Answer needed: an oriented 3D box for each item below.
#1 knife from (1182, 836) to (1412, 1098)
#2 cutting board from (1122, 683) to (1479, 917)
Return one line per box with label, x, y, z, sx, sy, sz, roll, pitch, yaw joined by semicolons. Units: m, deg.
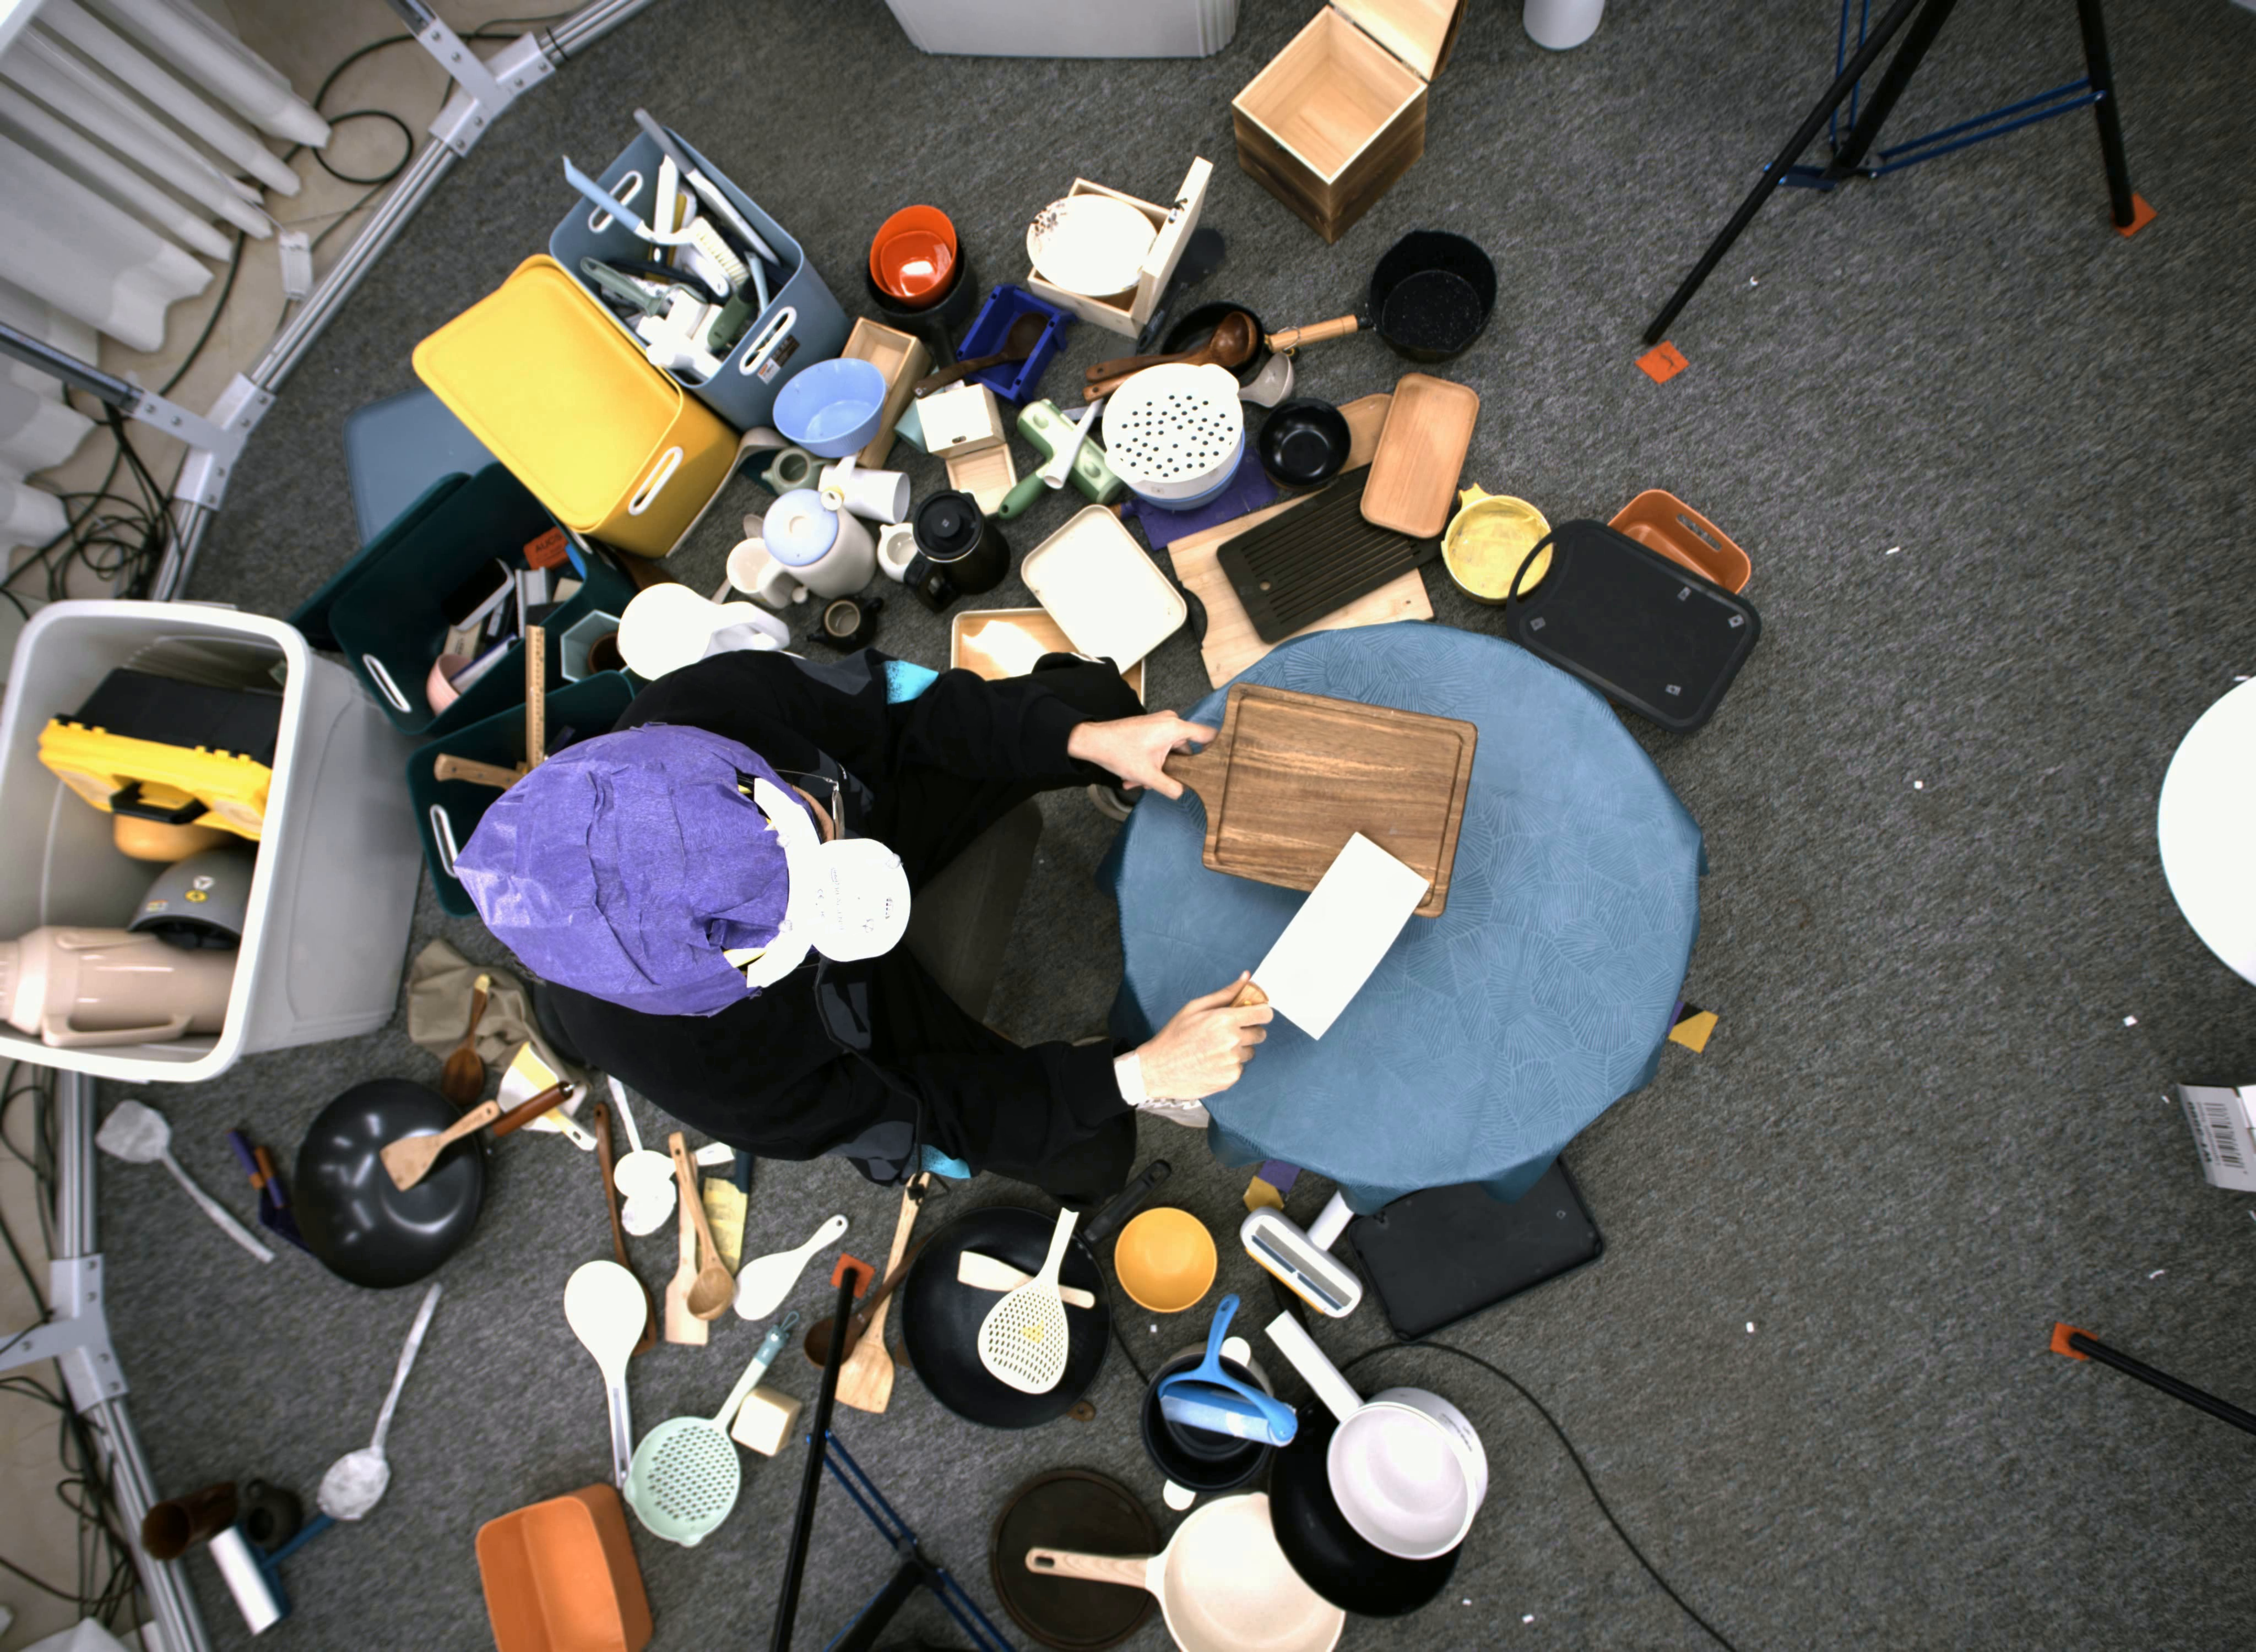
knife;0.171;0.153;1.365;0.093;0.021;0.307;35;96;2
cutting board;0.161;-0.037;1.384;0.353;0.023;0.203;11;104;18
